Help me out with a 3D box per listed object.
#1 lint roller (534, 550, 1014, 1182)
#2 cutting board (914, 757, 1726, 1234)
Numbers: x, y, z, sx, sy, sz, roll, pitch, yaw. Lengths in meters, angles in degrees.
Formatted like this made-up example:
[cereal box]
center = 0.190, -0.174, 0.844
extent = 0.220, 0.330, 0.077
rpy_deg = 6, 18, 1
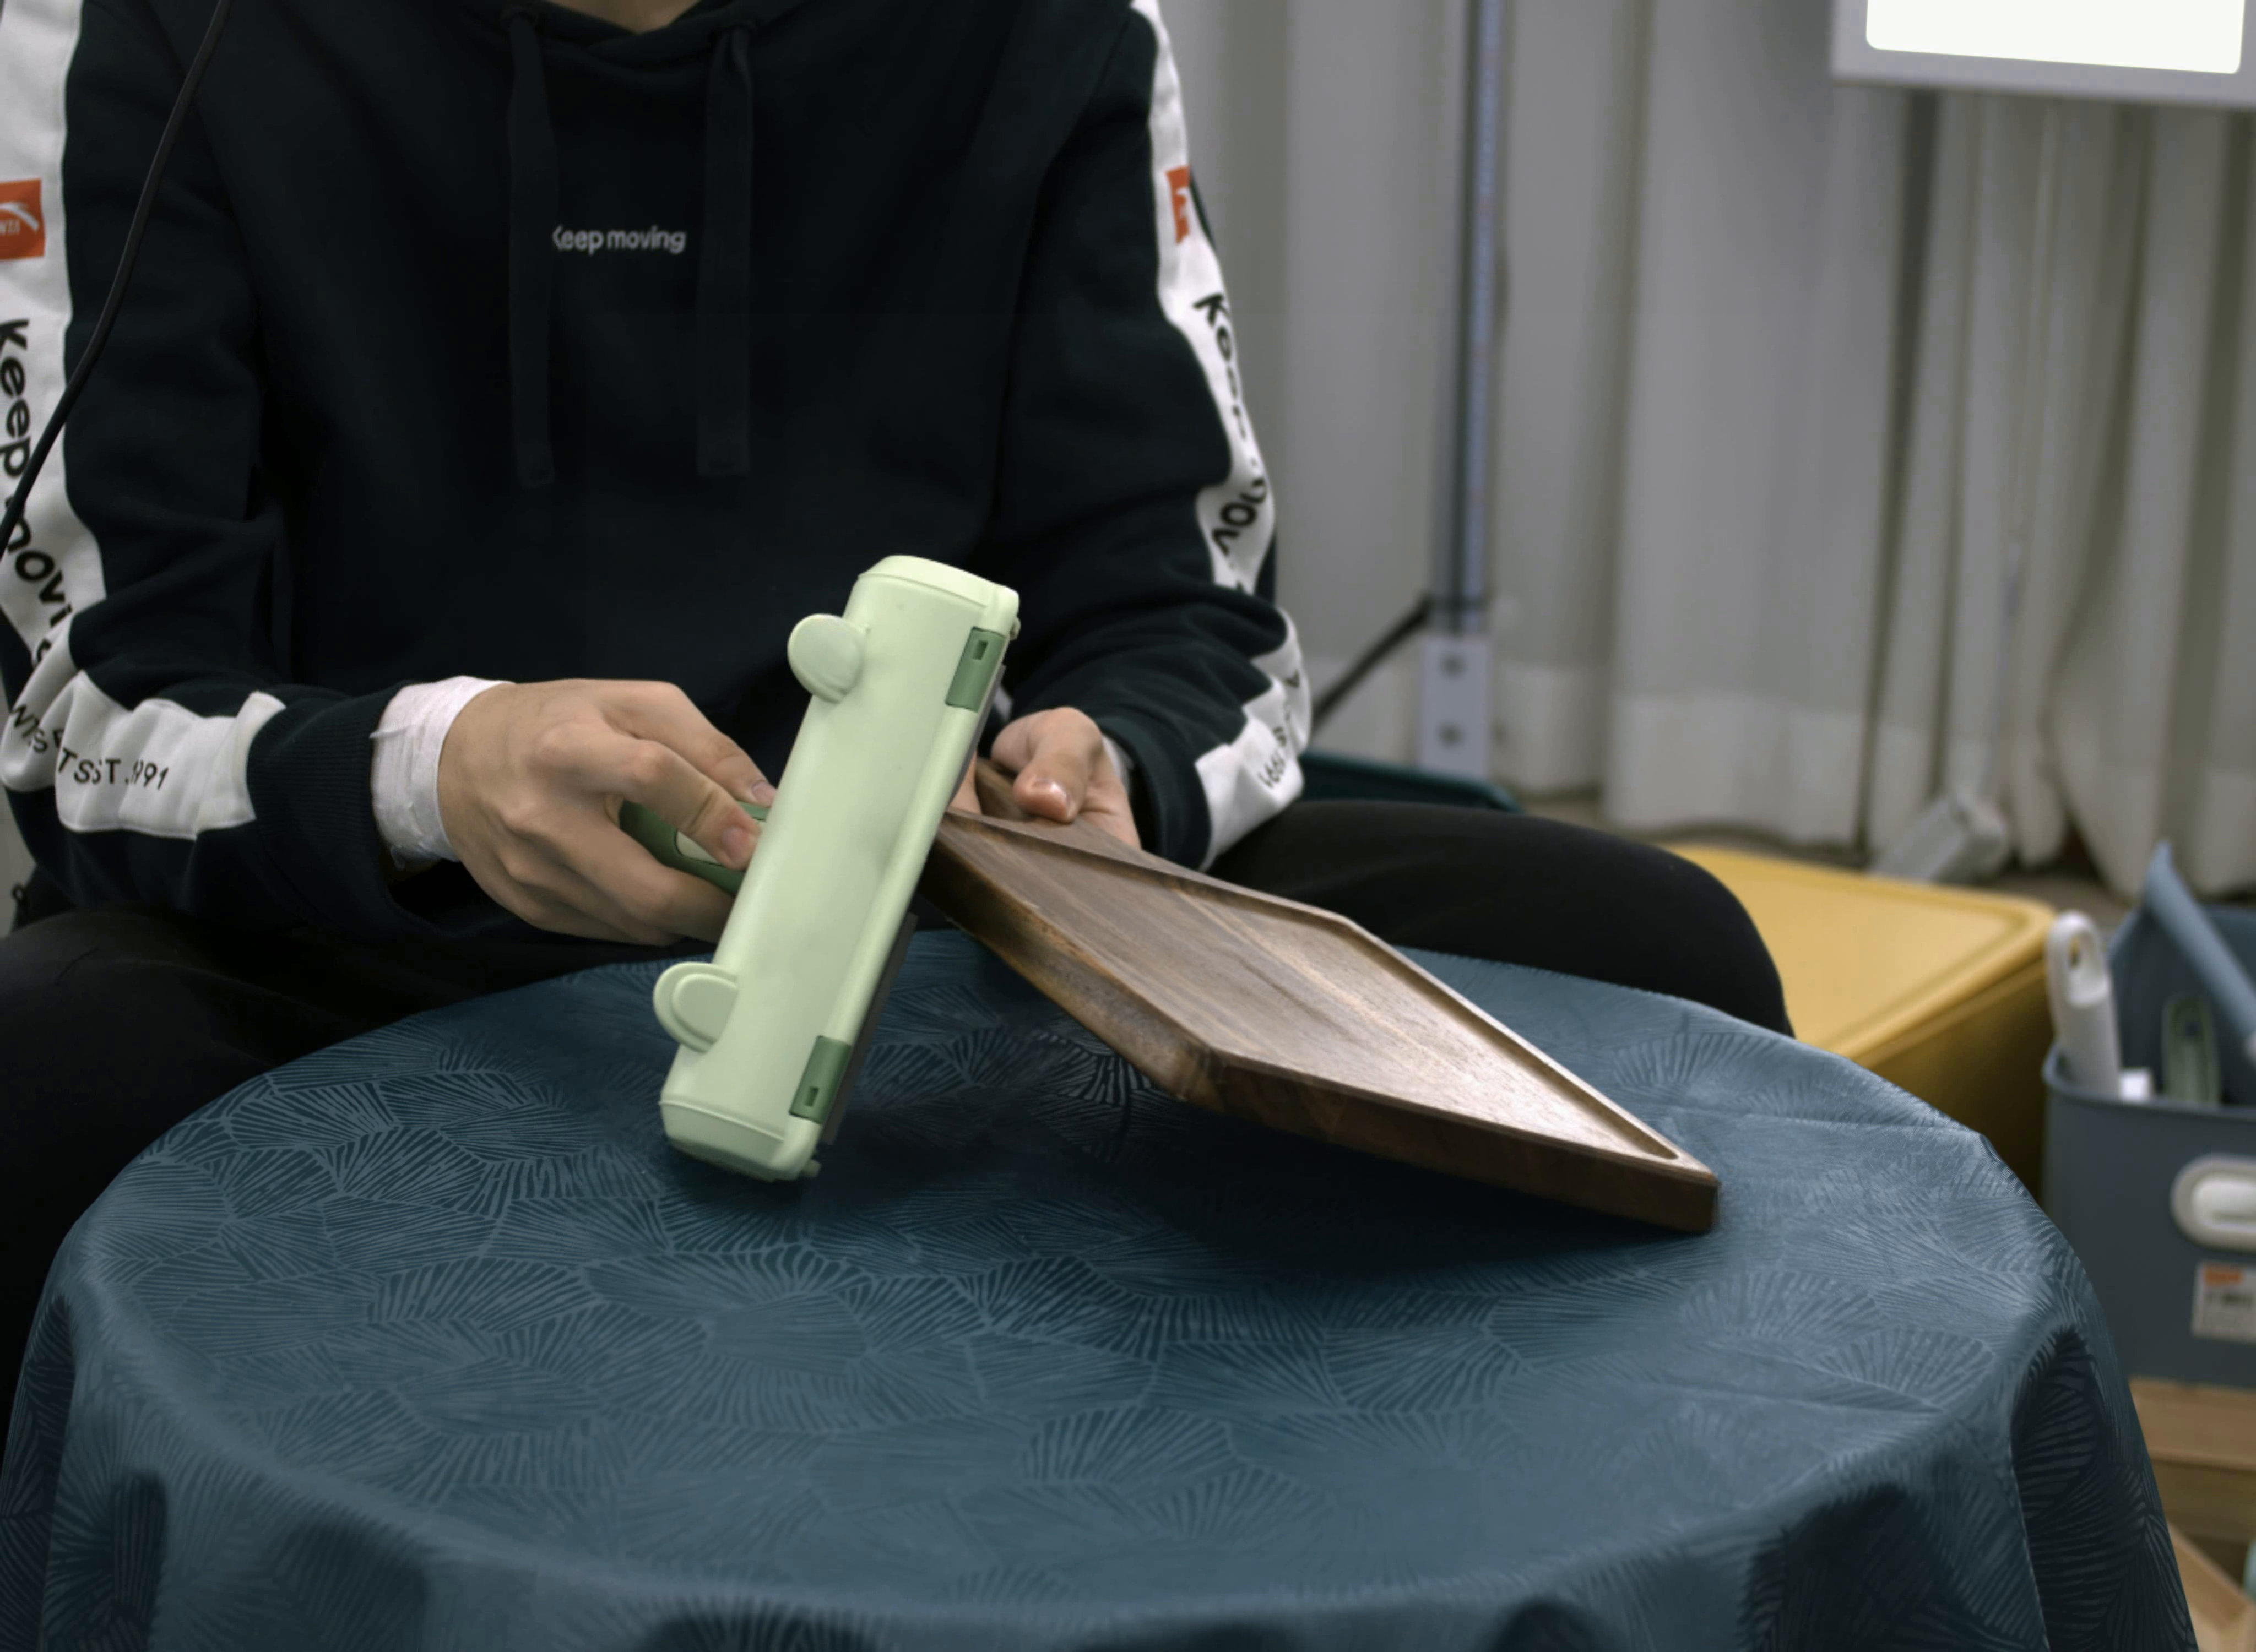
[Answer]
[lint roller]
center = -0.136, 0.000, 1.650
extent = 0.181, 0.198, 0.083
rpy_deg = 13, -12, 36
[cutting board]
center = 0.023, 0.040, 1.677
extent = 0.203, 0.023, 0.347
rpy_deg = 16, 10, -32
